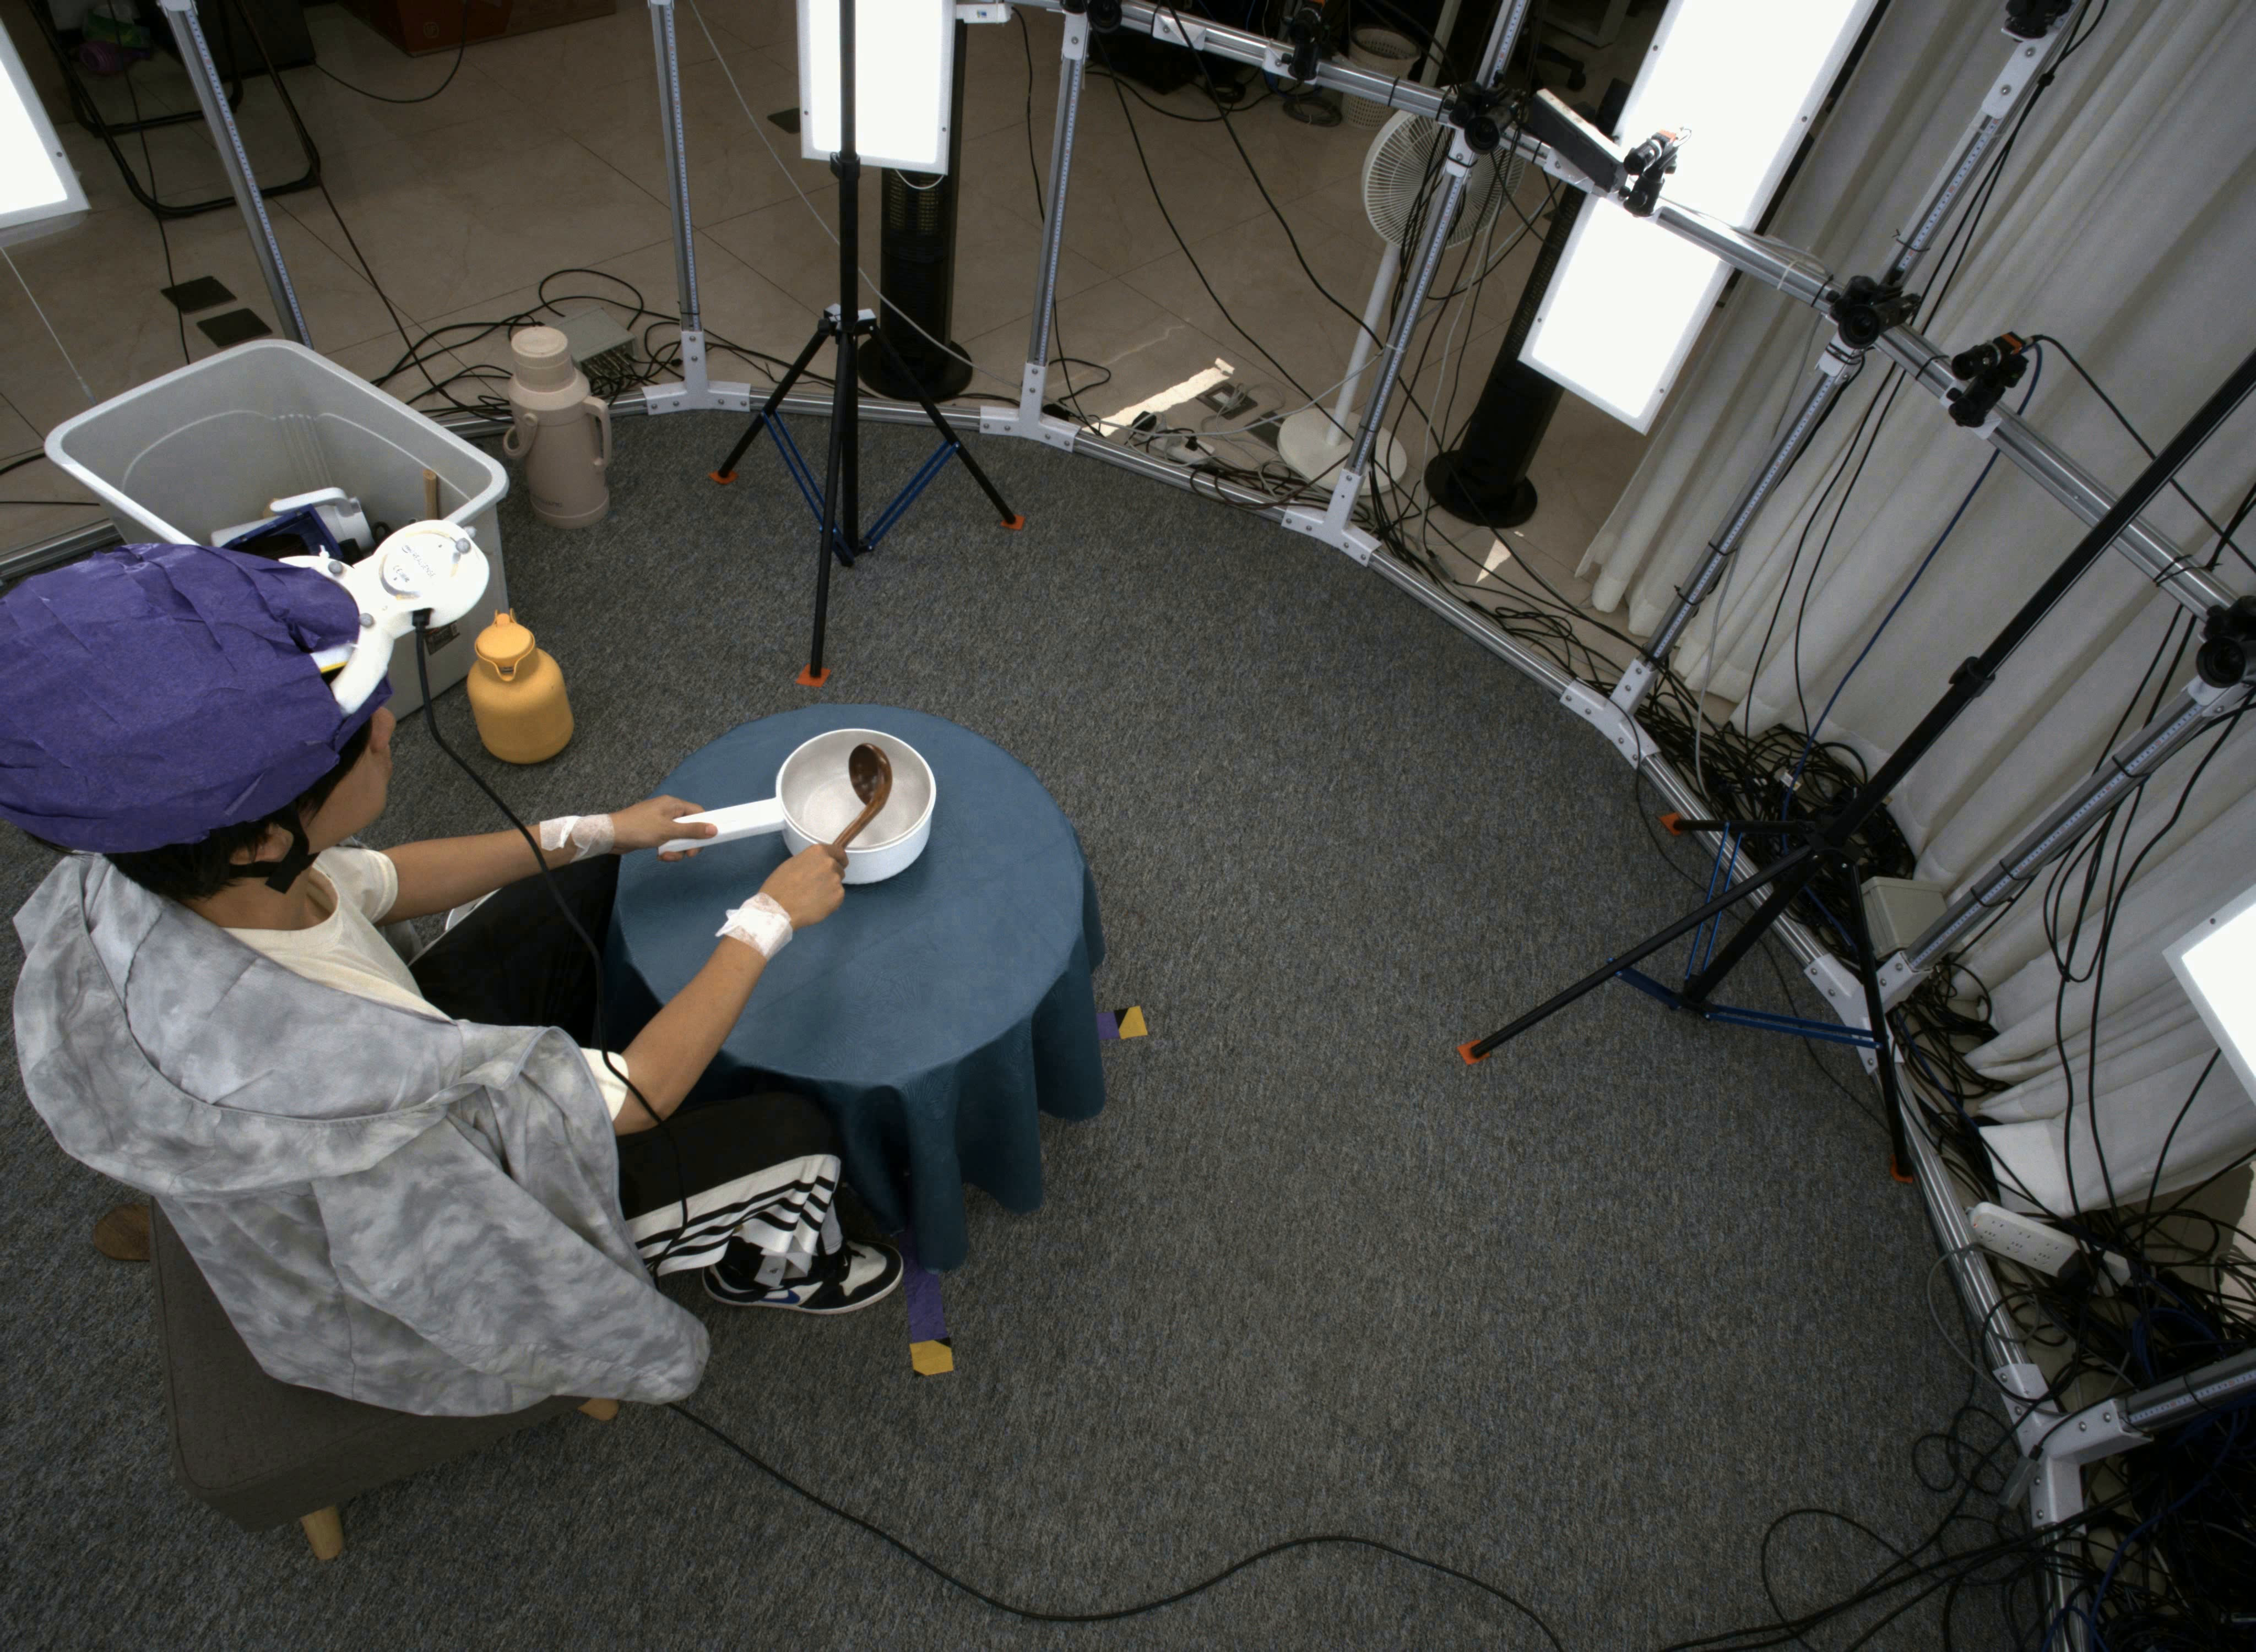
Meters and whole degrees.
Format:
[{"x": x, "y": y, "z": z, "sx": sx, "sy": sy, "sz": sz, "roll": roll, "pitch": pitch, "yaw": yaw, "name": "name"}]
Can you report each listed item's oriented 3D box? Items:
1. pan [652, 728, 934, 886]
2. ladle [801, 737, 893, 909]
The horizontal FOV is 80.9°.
[{"x": -0.424, "y": -0.003, "z": 1.665, "sx": 0.356, "sy": 0.104, "sz": 0.196, "roll": -14, "pitch": 59, "yaw": -22, "name": "pan"}, {"x": -0.355, "y": -0.010, "z": 1.560, "sx": 0.075, "sy": 0.084, "sz": 0.271, "roll": 19, "pitch": 41, "yaw": 6, "name": "ladle"}]
